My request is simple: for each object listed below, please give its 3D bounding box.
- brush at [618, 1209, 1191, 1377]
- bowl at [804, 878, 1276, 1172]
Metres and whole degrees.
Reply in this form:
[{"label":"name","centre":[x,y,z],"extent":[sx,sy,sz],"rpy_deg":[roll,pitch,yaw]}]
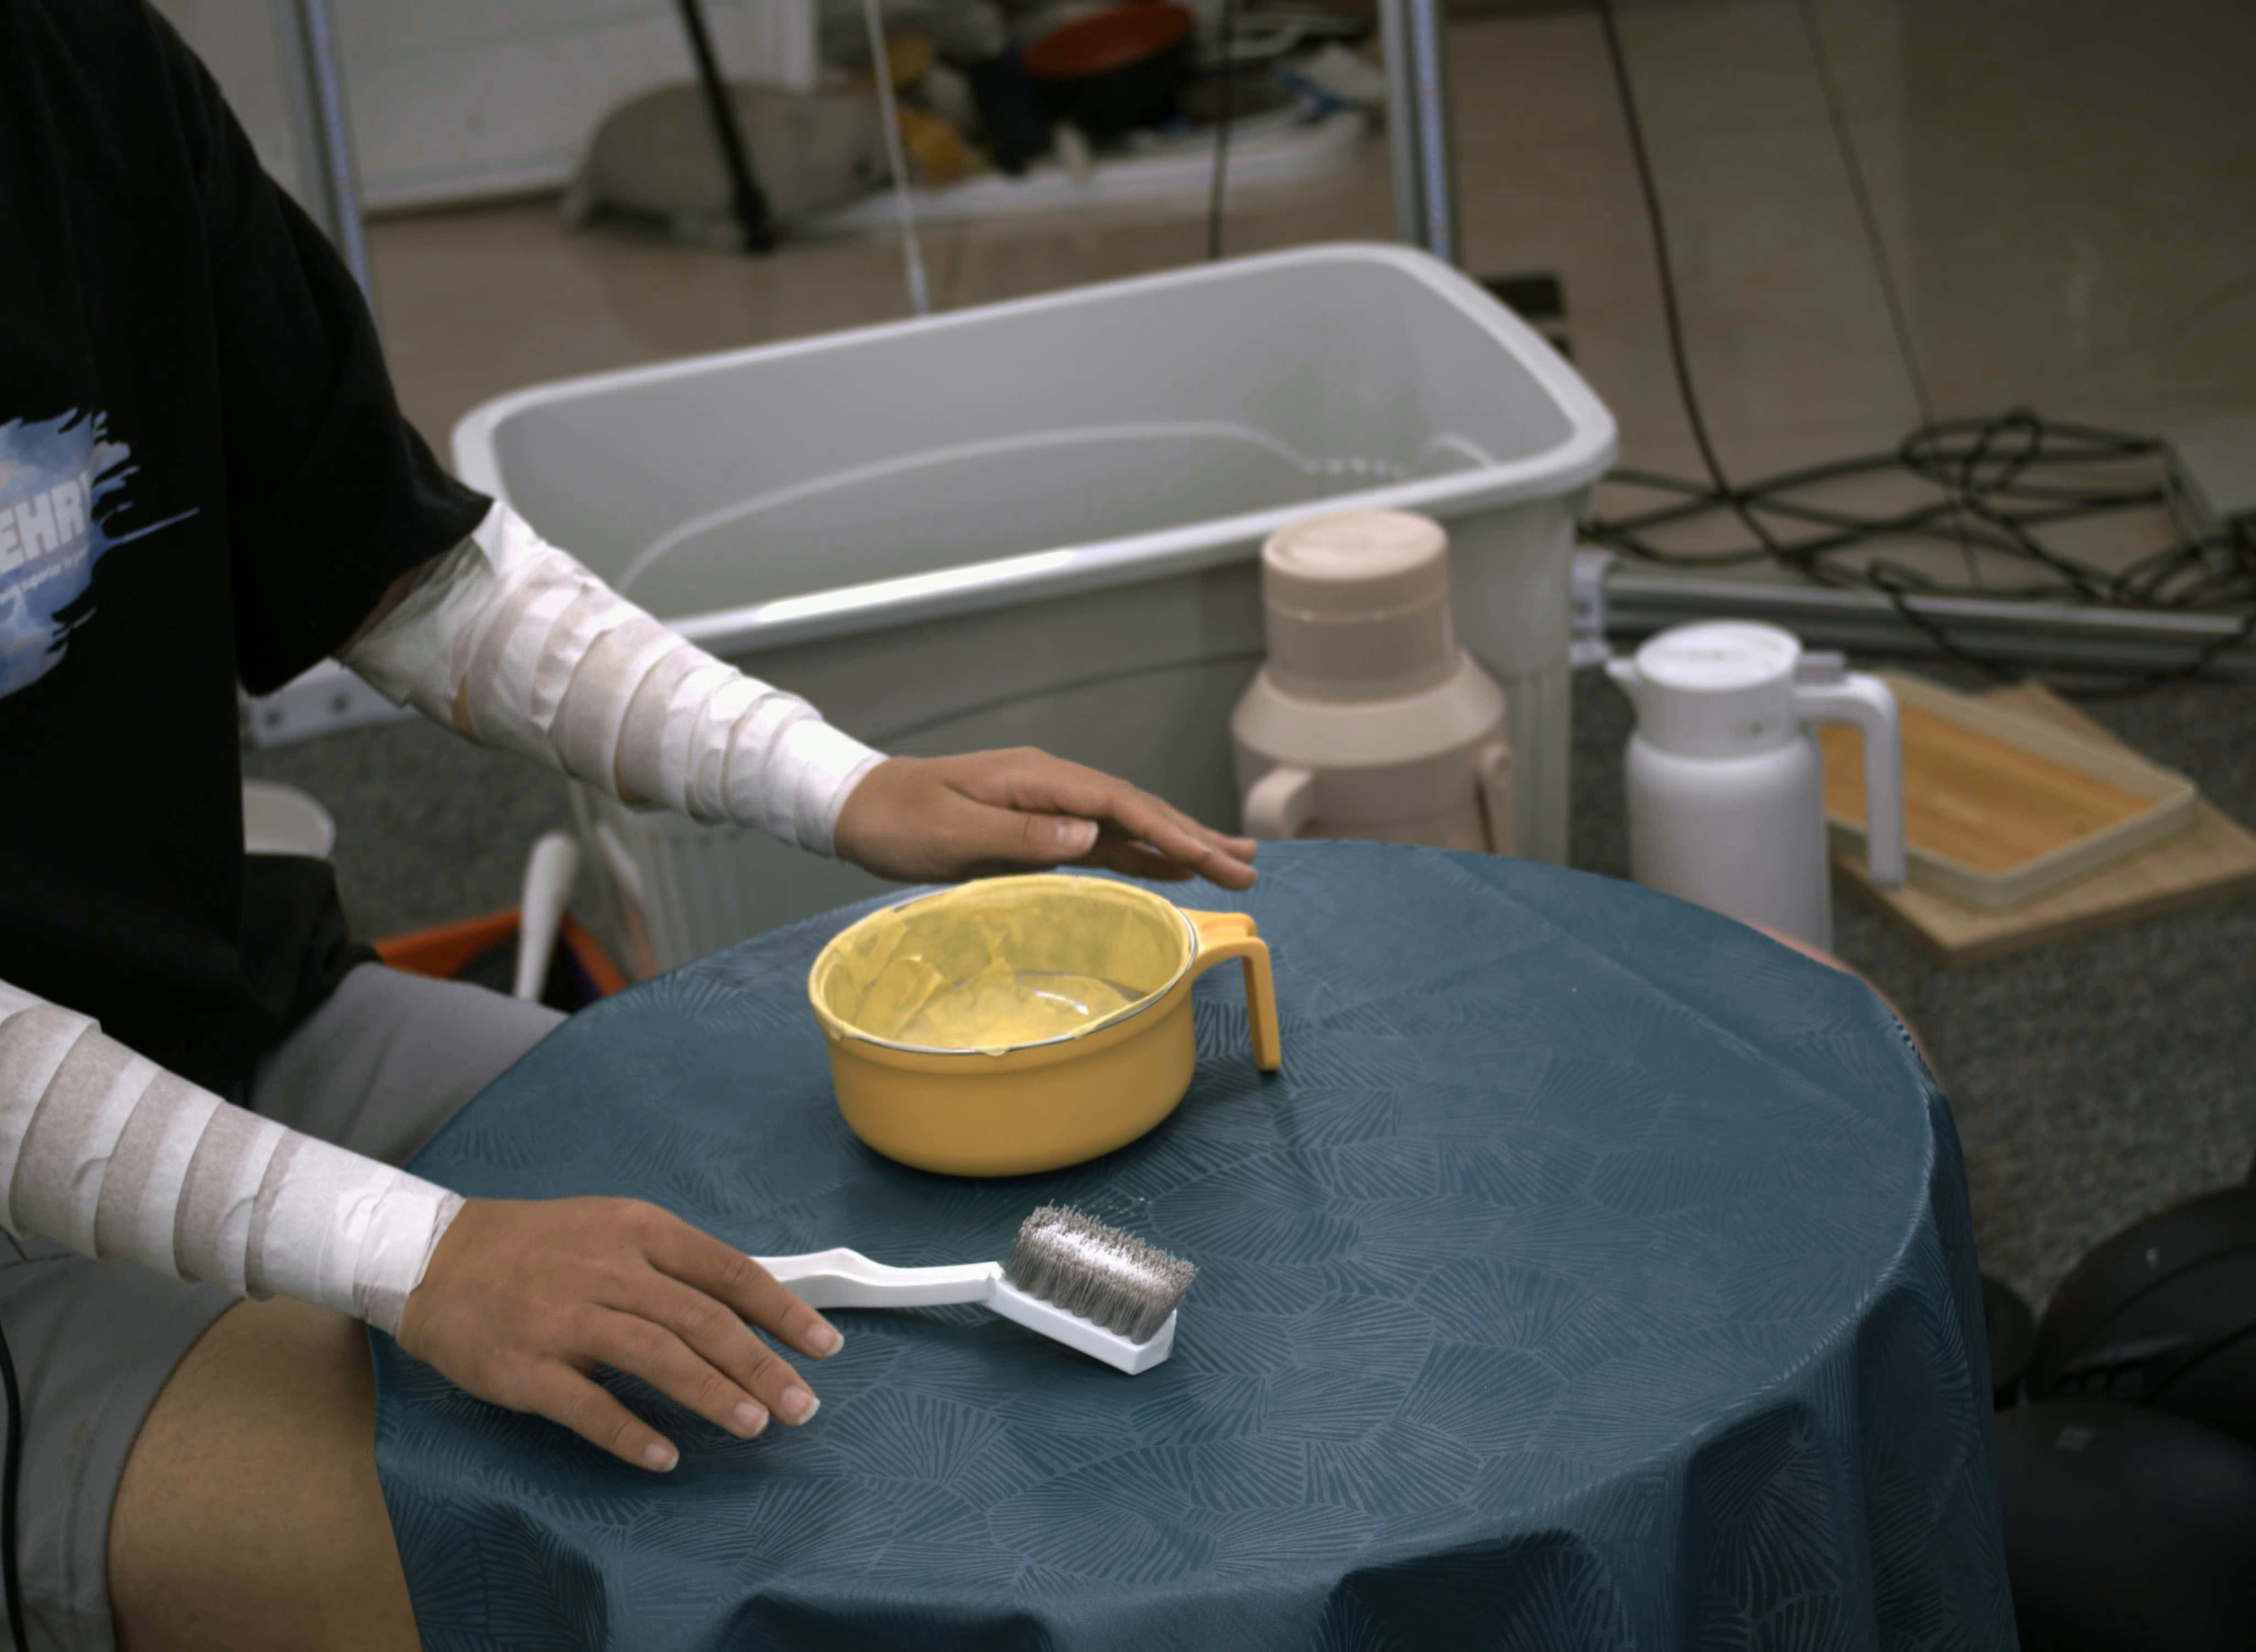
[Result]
[{"label":"brush","centre":[-0.087,0.156,2.073],"extent":[0.242,0.051,0.034],"rpy_deg":[9,31,29]},{"label":"bowl","centre":[-0.033,0.079,2.203],"extent":[0.179,0.075,0.151],"rpy_deg":[-10,20,-10]}]
